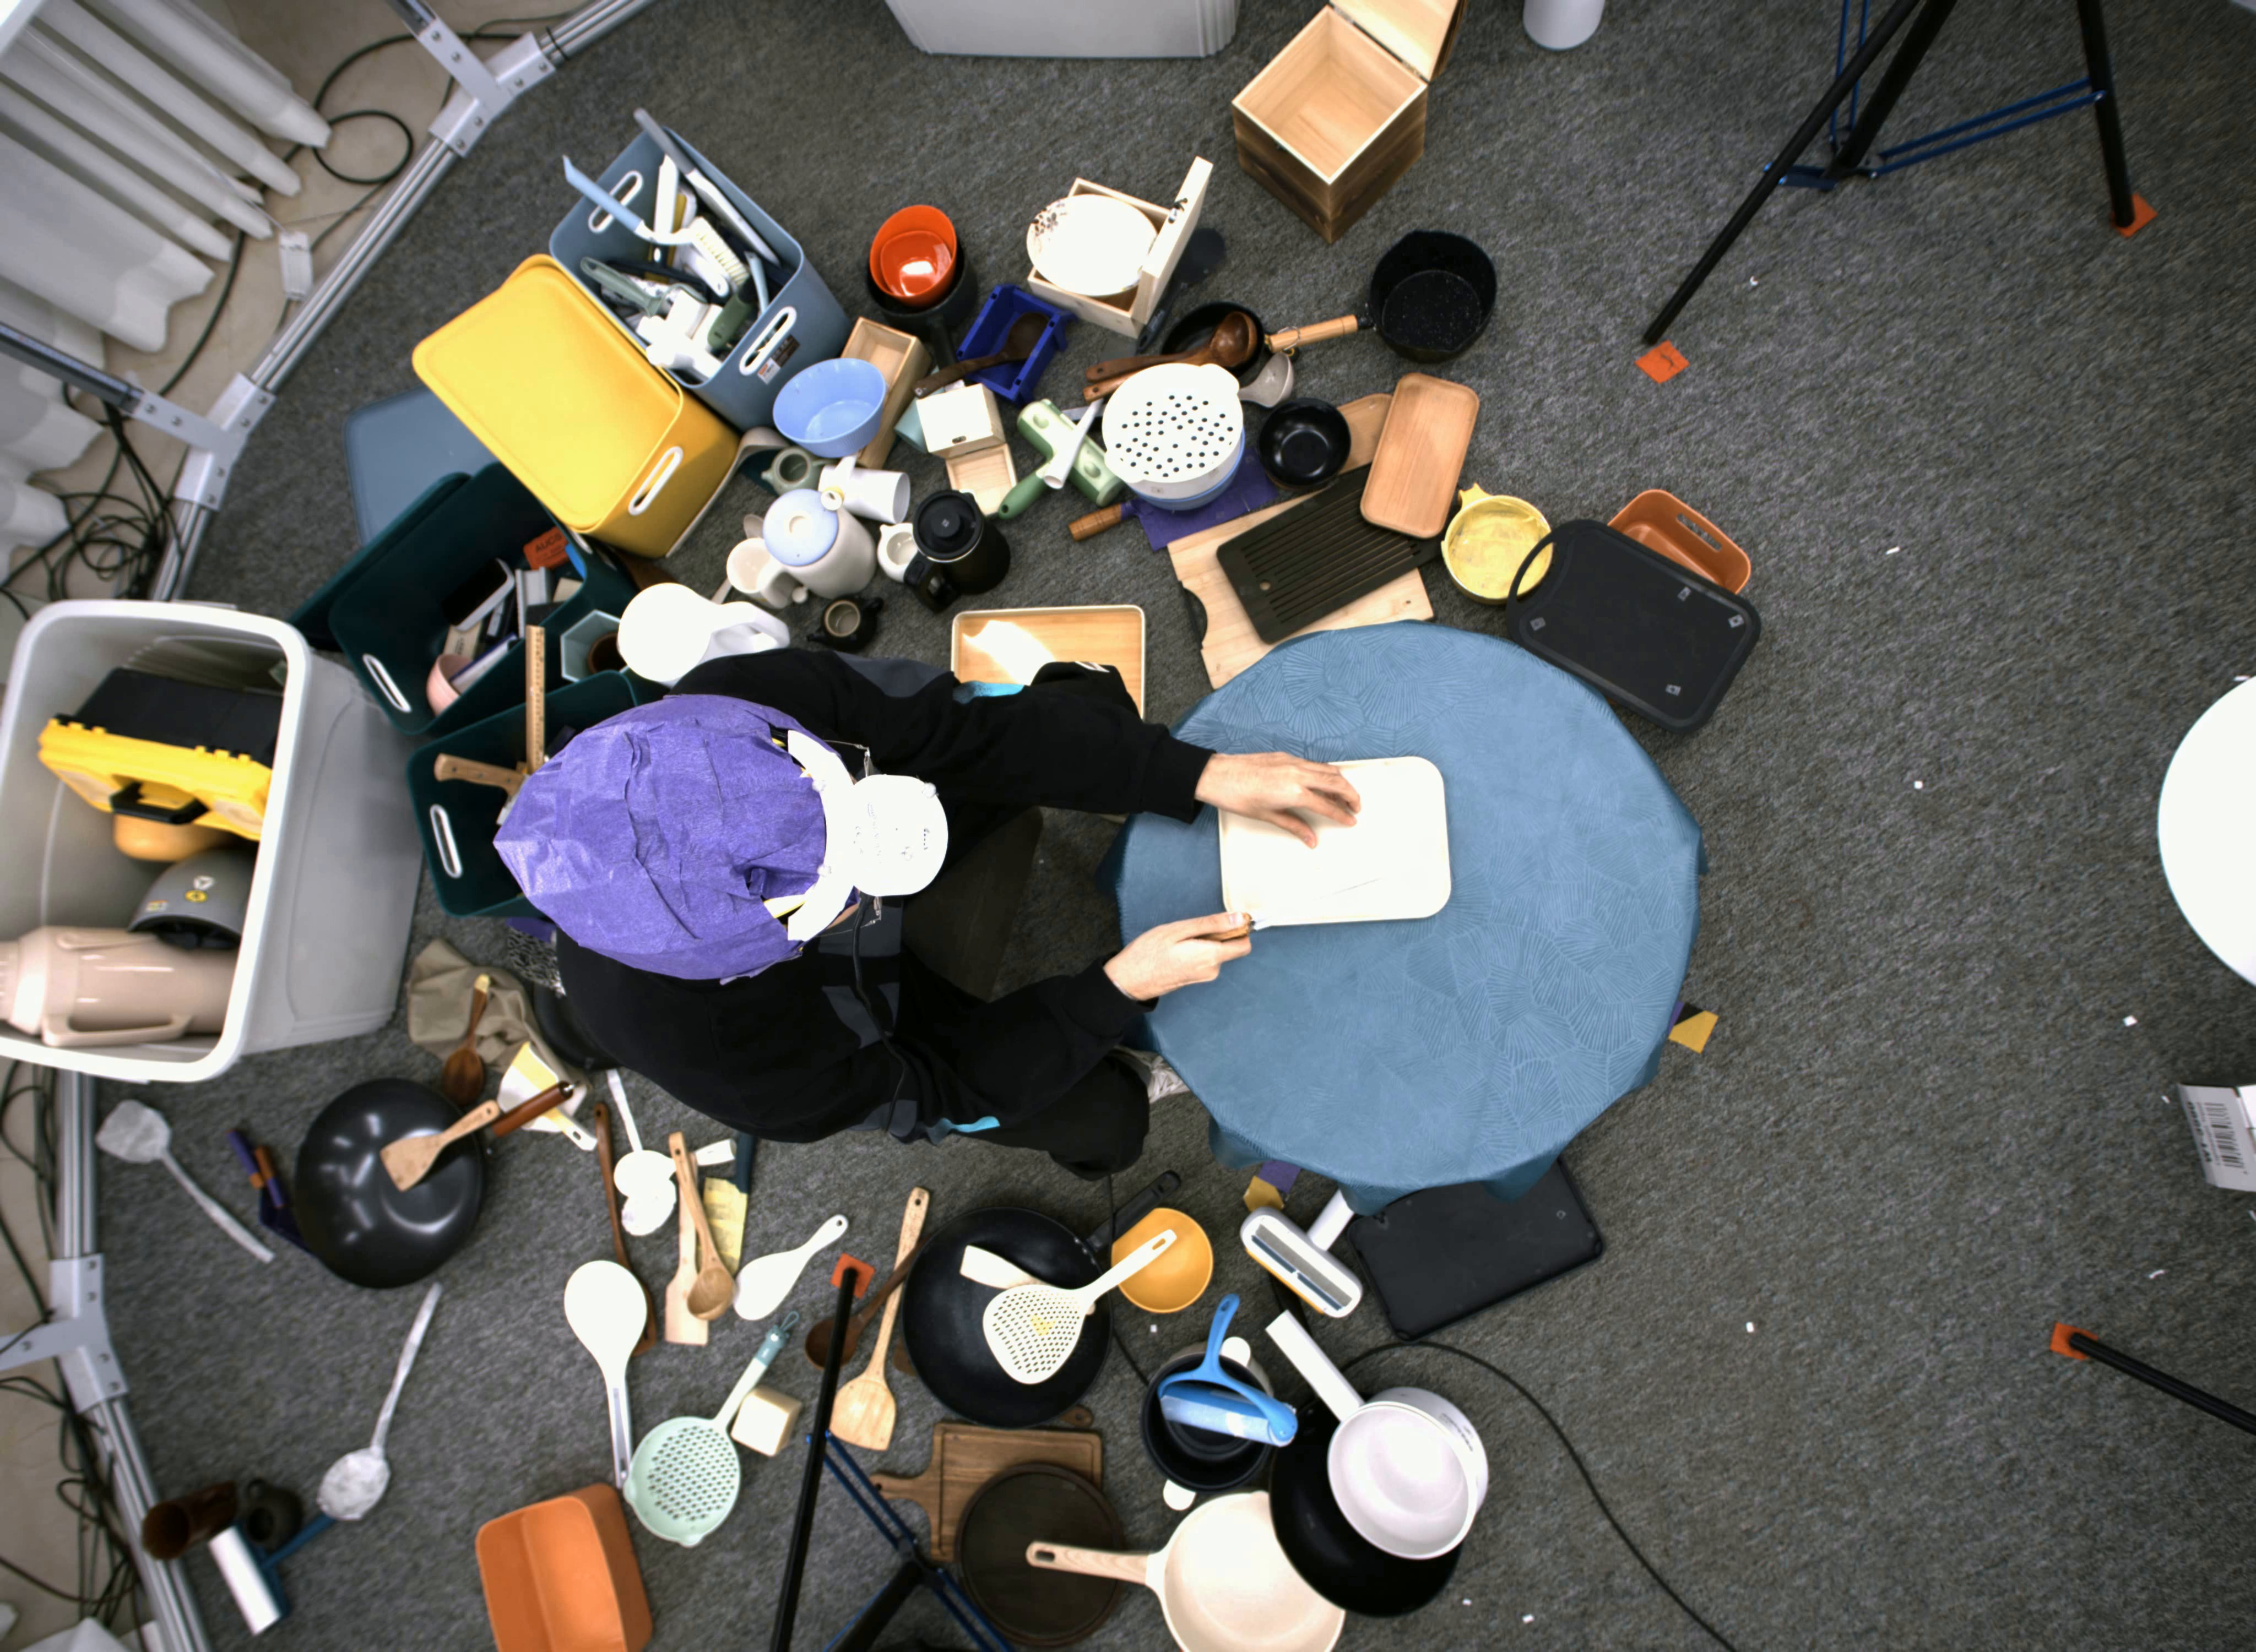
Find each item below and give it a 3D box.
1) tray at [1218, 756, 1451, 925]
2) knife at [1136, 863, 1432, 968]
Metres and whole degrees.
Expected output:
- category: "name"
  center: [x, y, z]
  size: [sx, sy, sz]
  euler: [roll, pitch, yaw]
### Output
- category: "tray"
  center: [0.217, 0.016, 1.463]
  size: [0.240, 0.017, 0.170]
  euler: [-3, 88, 10]
- category: "knife"
  center: [0.159, 0.089, 1.397]
  size: [0.308, 0.093, 0.021]
  euler: [-19, 77, 12]
